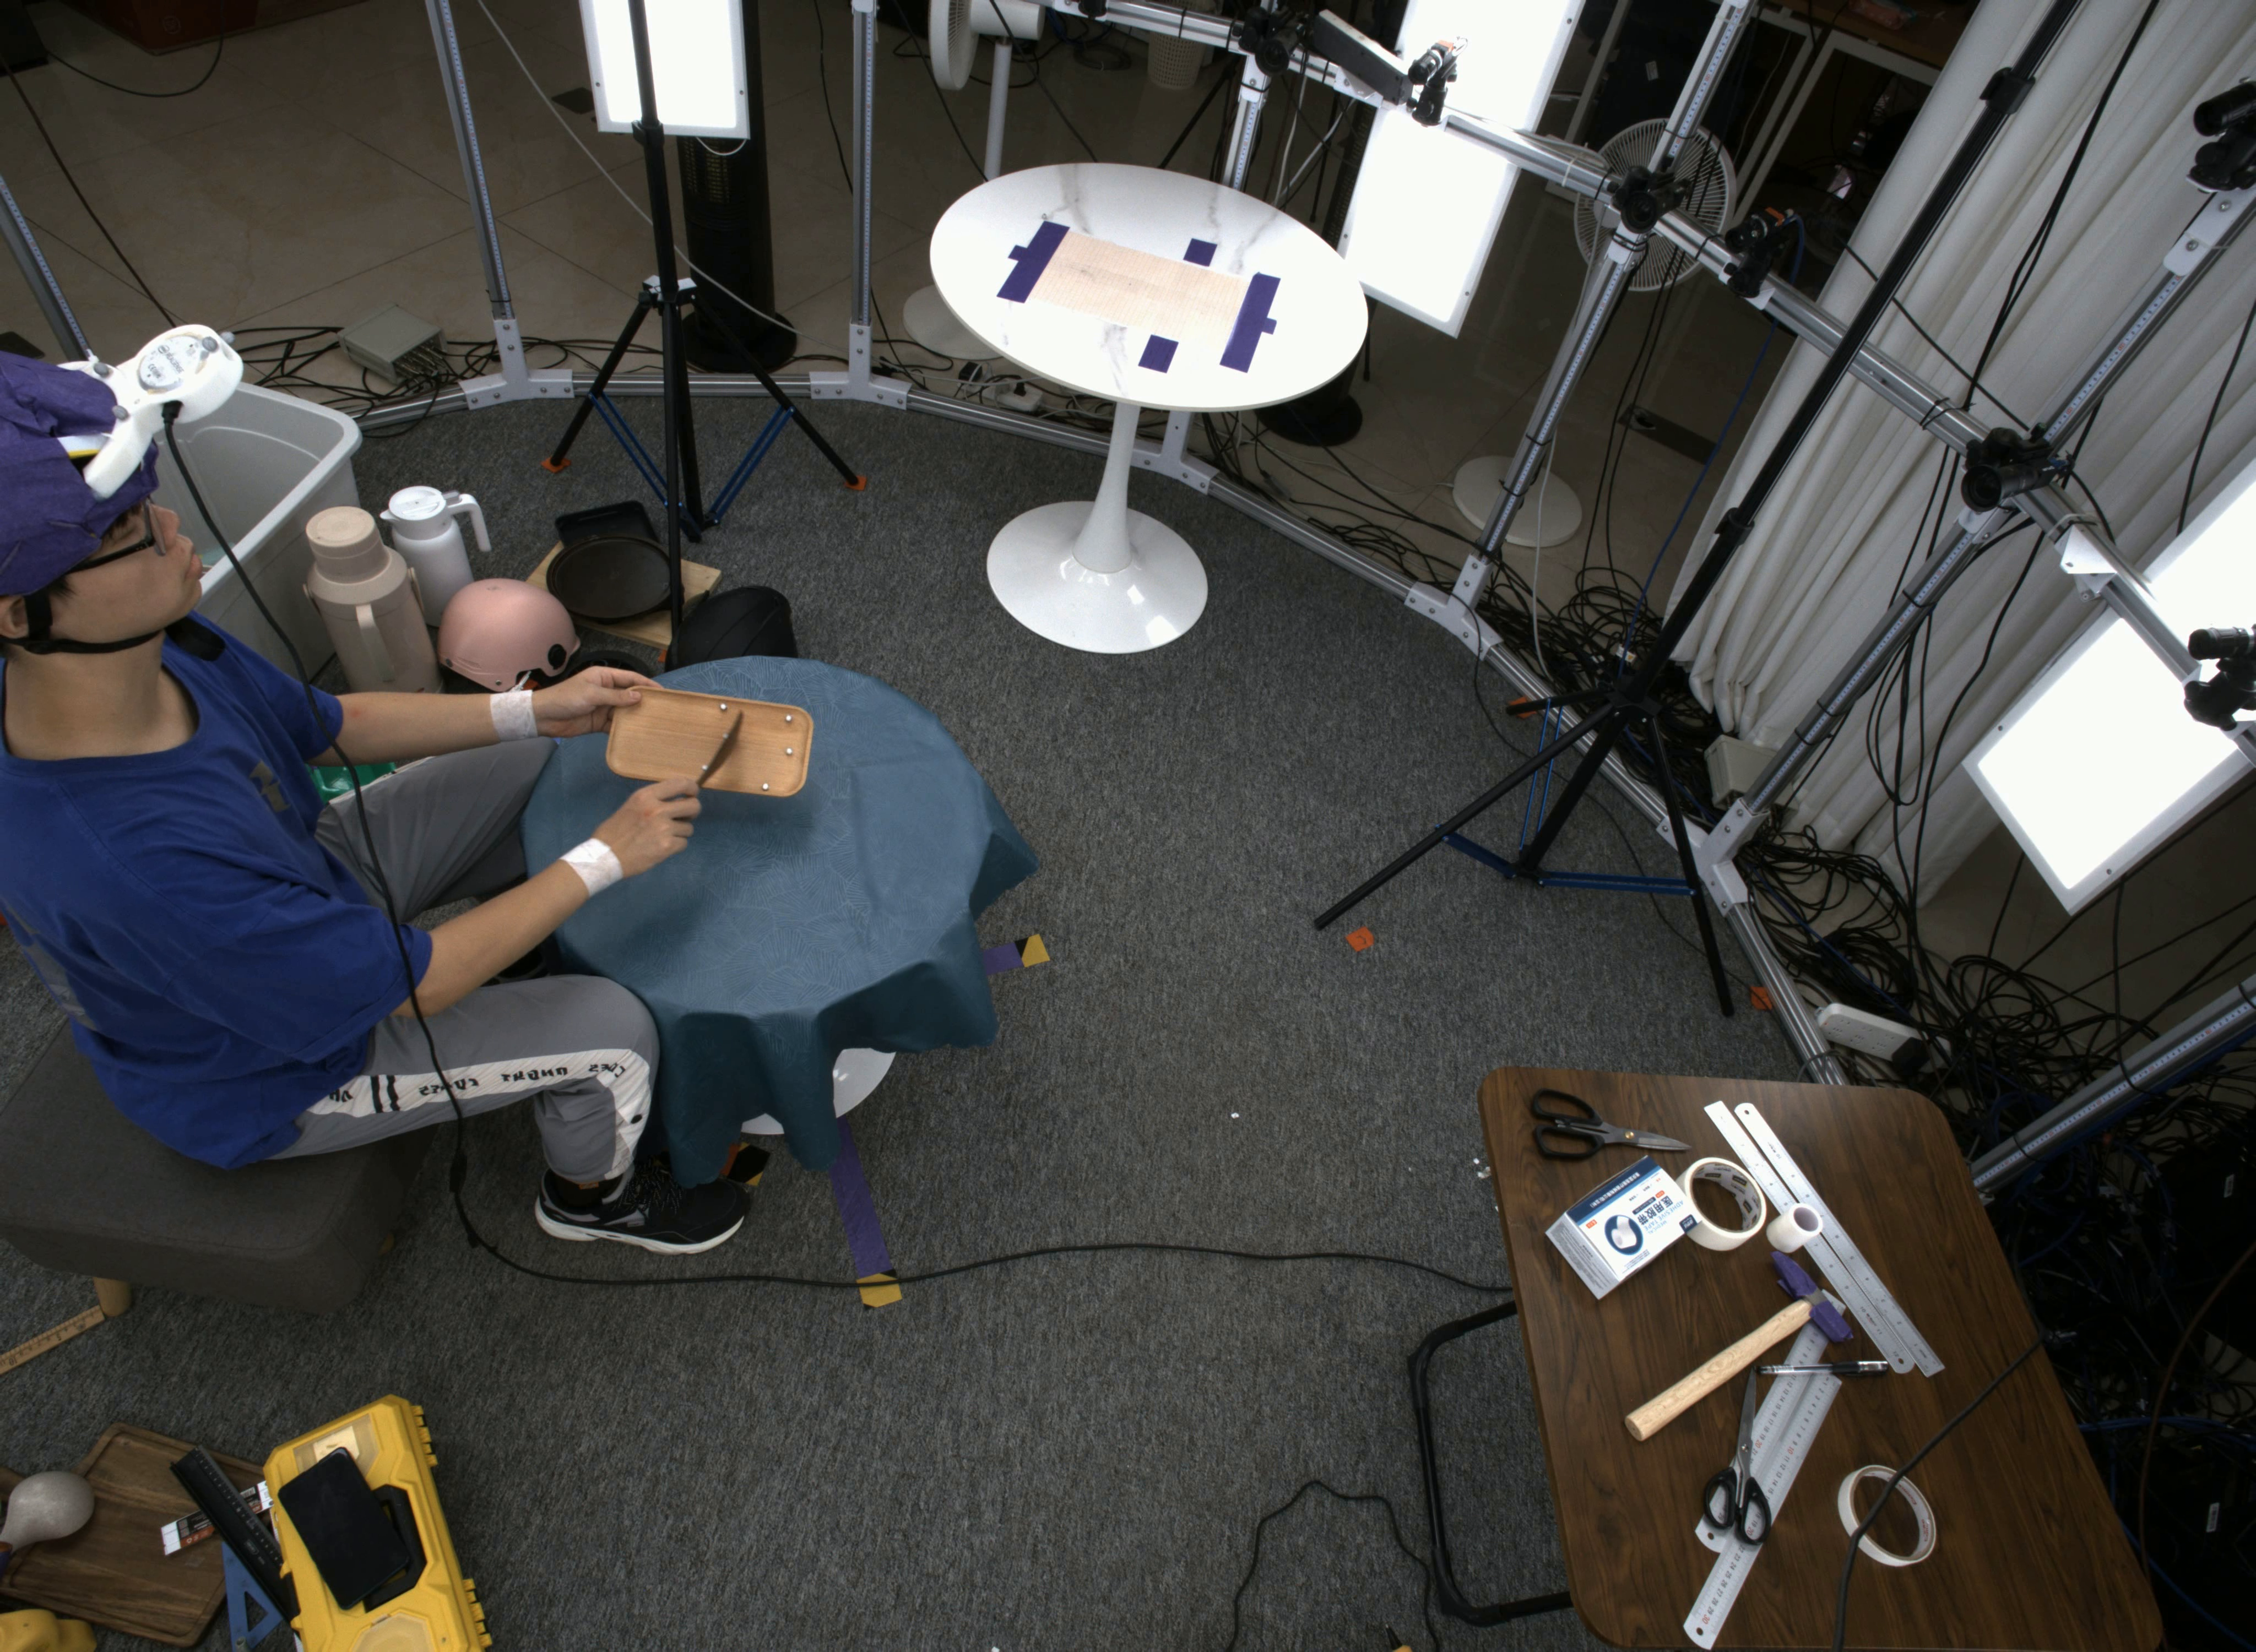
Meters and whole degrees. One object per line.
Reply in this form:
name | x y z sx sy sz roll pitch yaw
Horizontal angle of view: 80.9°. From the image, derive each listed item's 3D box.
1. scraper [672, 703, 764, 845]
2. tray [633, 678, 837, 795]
scraper | -0.504 -0.062 1.595 0.011 0.076 0.210 30 57 -5
tray | -0.507 -0.115 1.668 0.251 0.023 0.130 9 70 -12
